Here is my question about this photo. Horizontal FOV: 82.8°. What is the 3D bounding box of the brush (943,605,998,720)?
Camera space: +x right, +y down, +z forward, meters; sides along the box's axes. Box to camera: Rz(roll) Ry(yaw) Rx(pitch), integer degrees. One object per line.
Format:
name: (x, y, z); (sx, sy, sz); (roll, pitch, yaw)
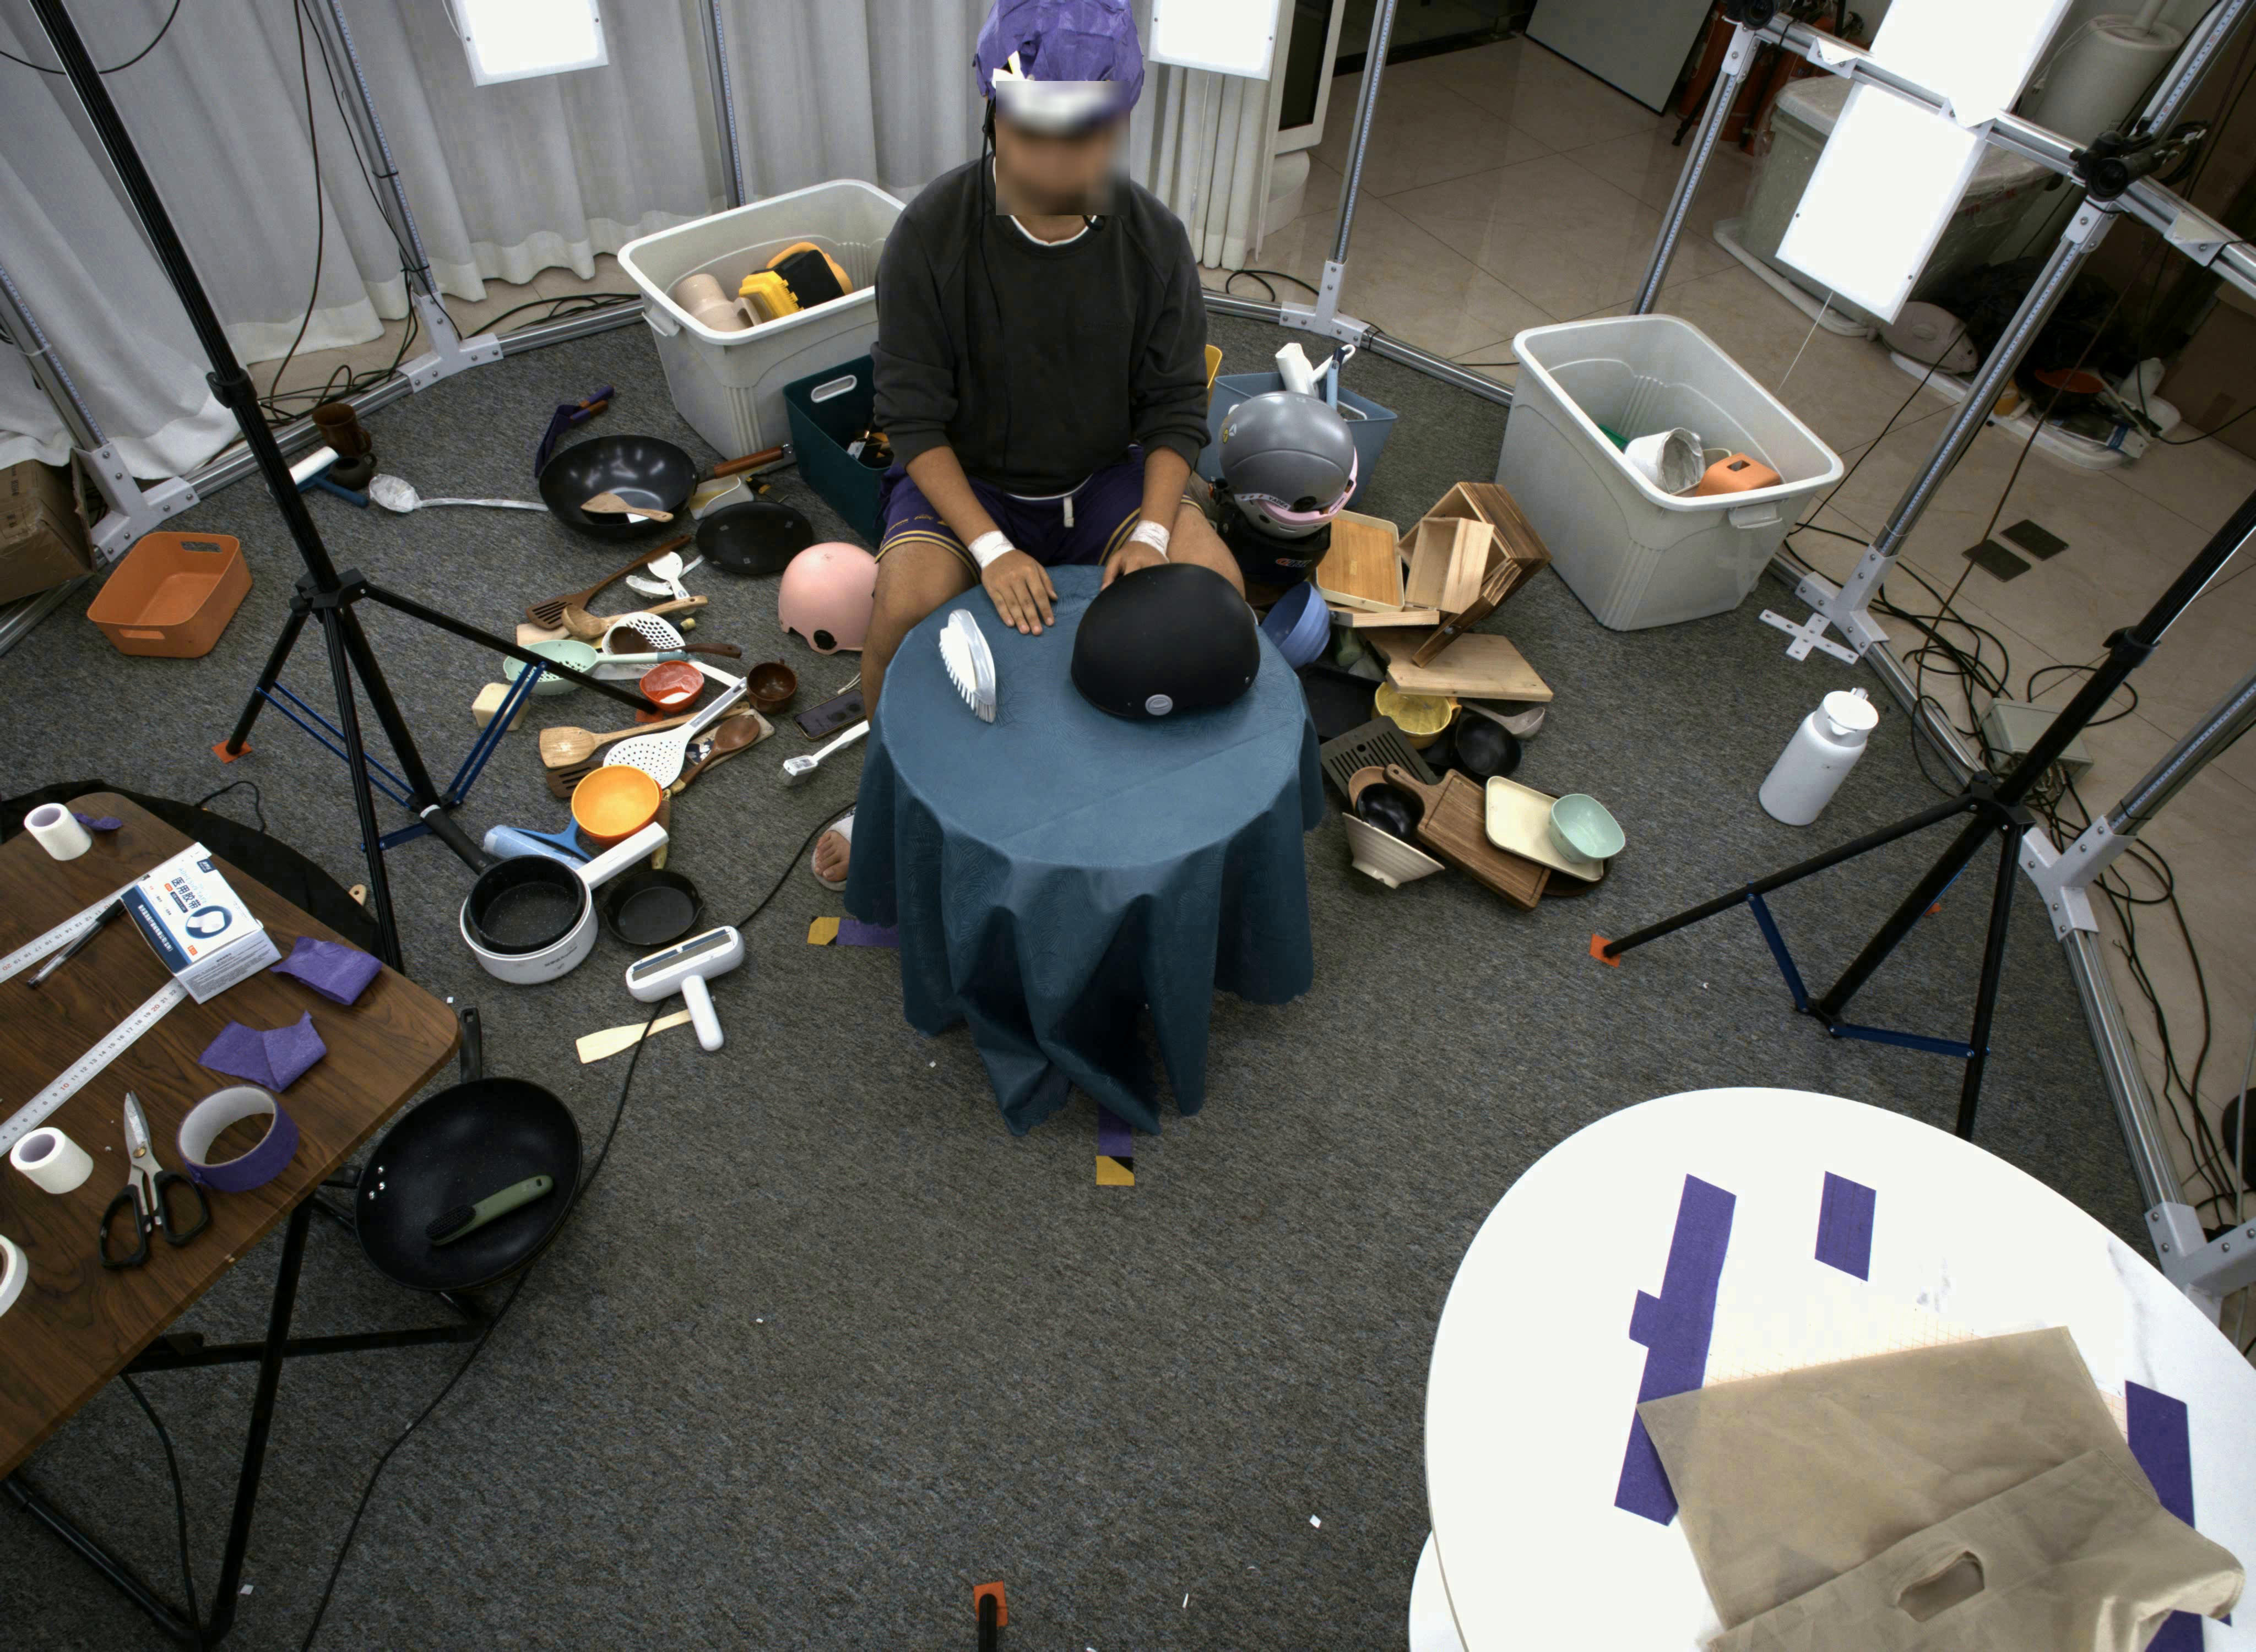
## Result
brush: (-0.214, -0.236, 1.799); (0.061, 0.092, 0.180); (-13, 53, -14)

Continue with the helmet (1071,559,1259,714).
helmet: (0.054, -0.281, 1.812); (0.273, 0.163, 0.236); (-9, 50, -9)
